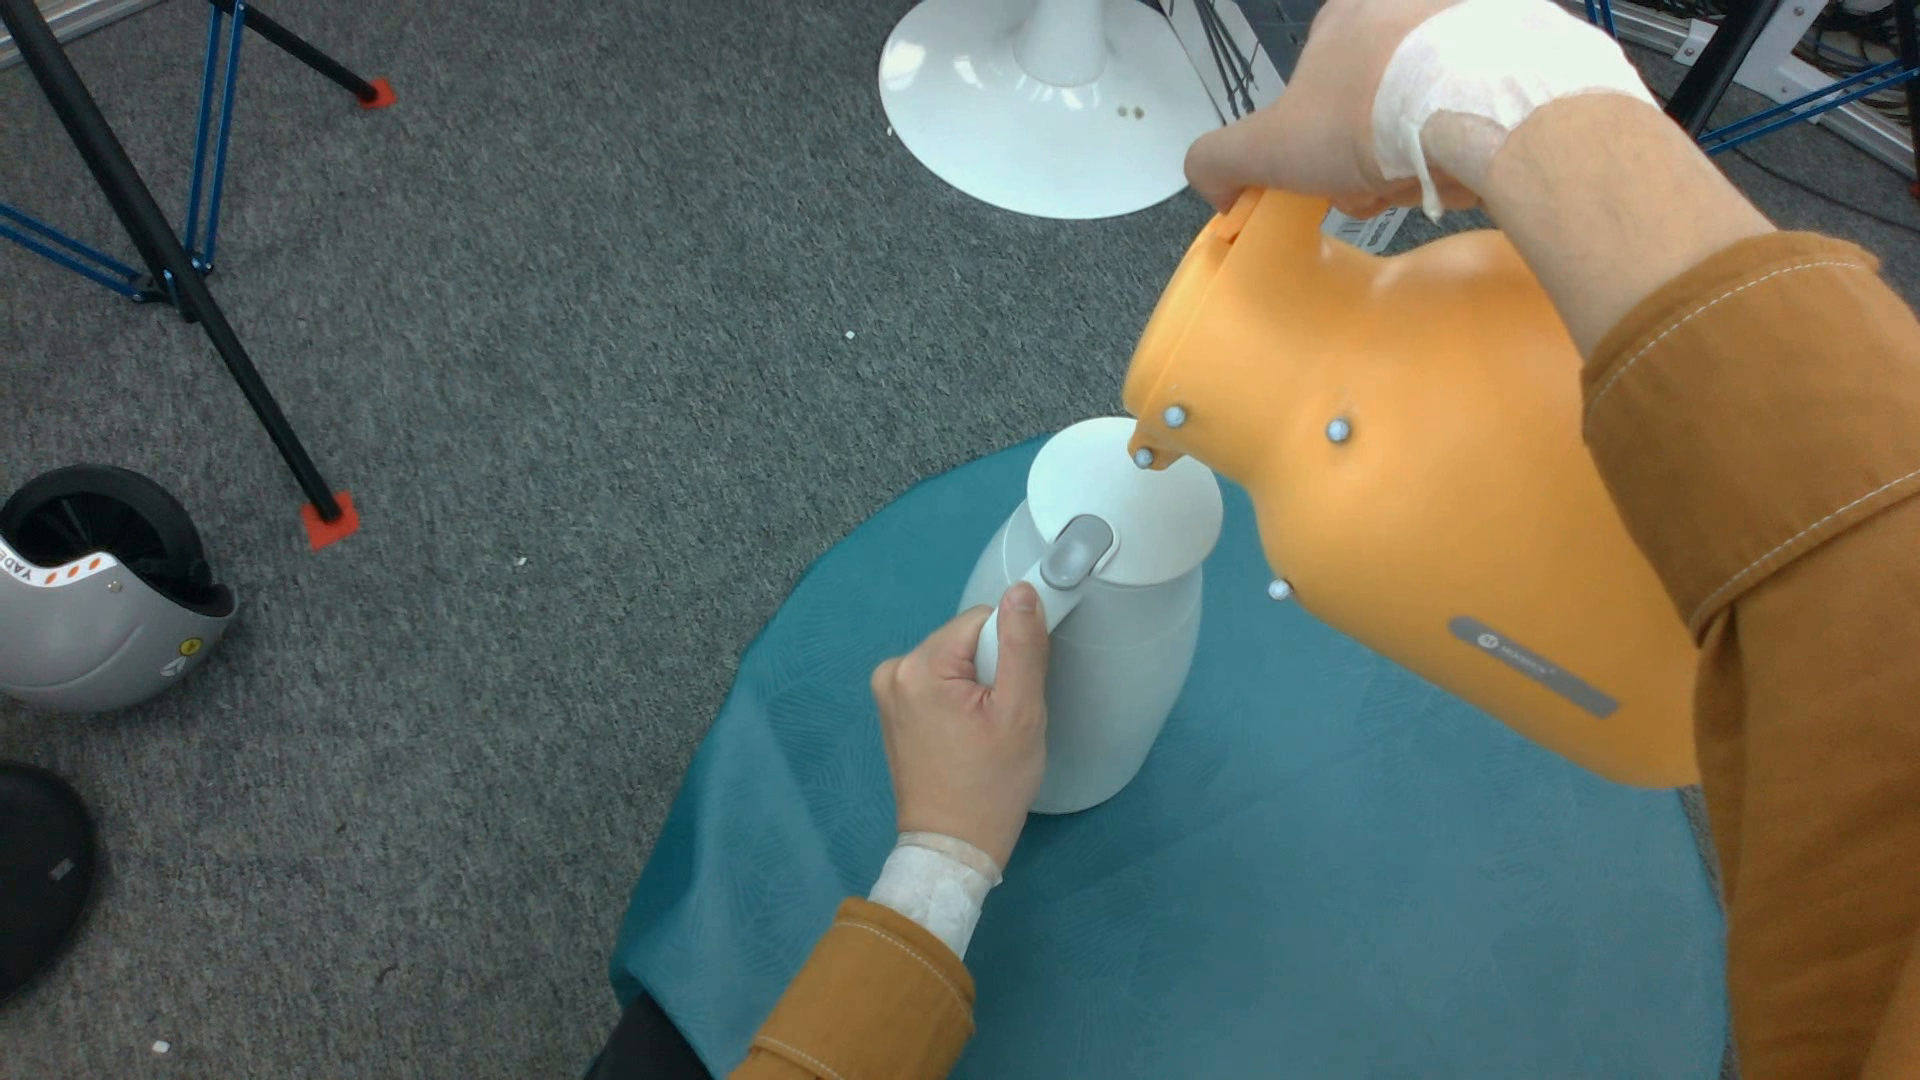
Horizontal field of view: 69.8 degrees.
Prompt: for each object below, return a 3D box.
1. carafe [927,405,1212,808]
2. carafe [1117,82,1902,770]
[{"bbox_3d":[0.047,0.048,0.718,0.132,0.247,0.168,38,62,16],"label":"carafe"},{"bbox_3d":[0.193,-0.046,0.504,0.260,0.201,0.164,27,52,7],"label":"carafe"}]
